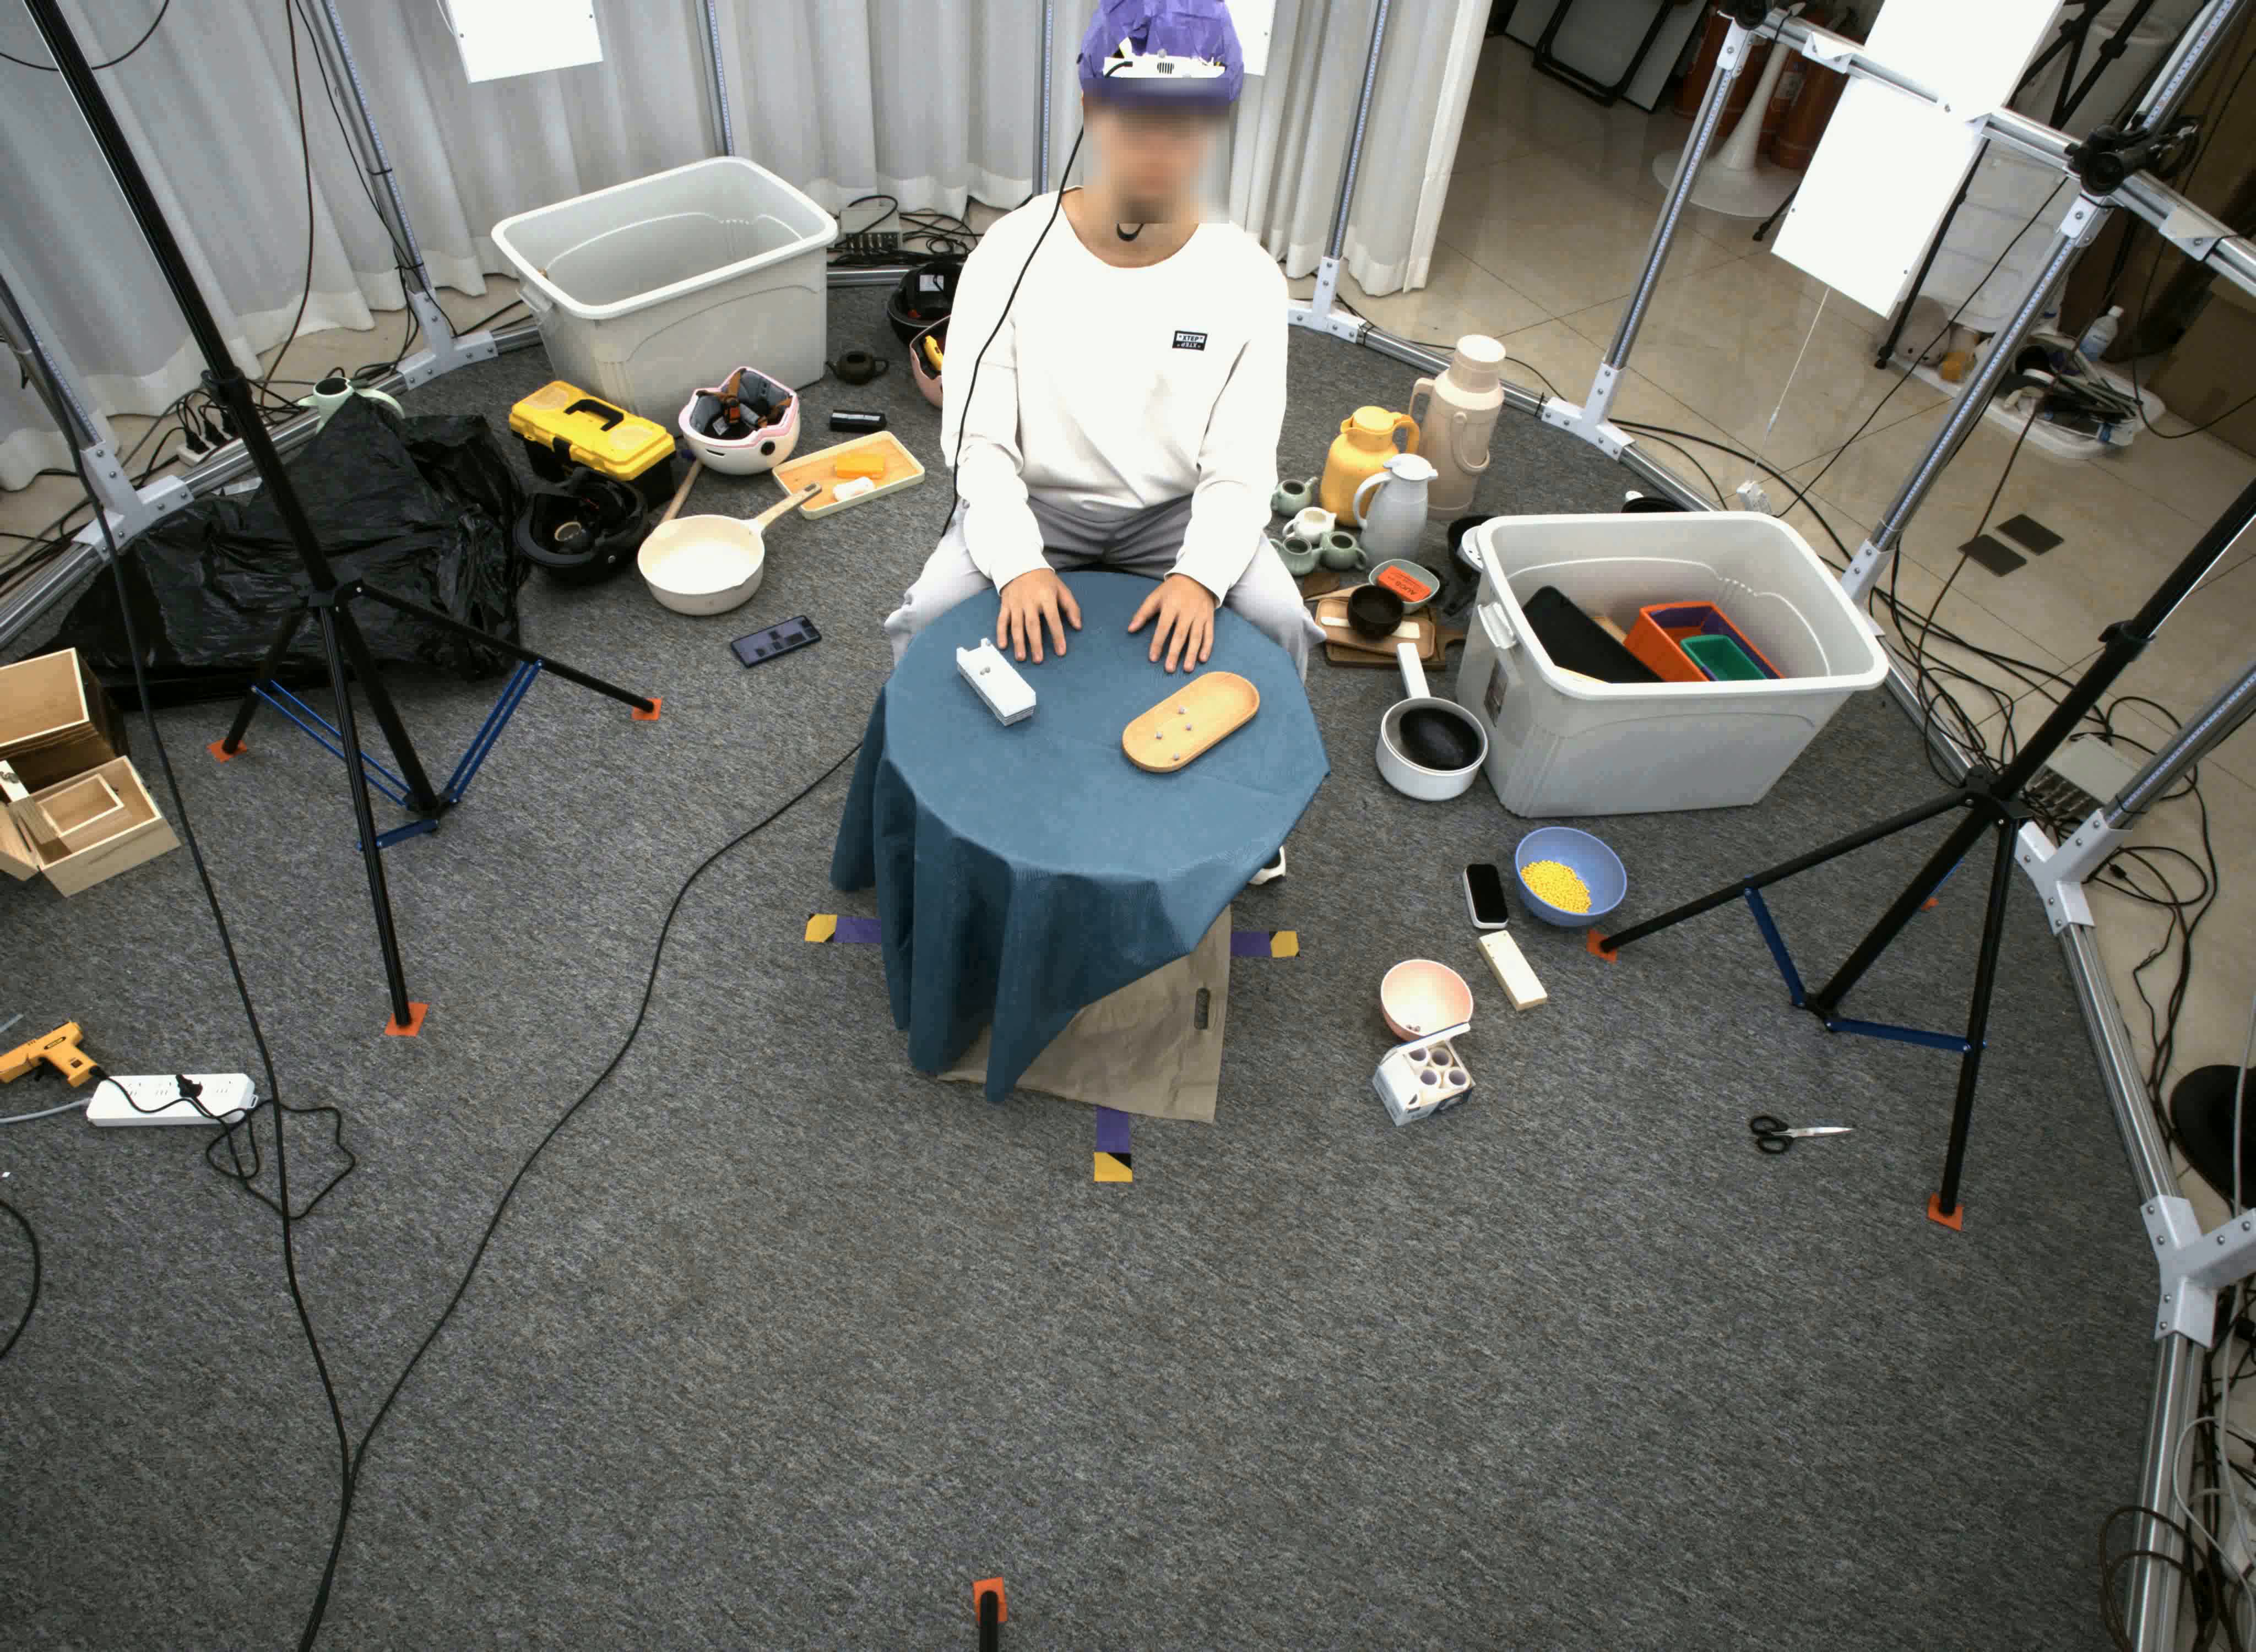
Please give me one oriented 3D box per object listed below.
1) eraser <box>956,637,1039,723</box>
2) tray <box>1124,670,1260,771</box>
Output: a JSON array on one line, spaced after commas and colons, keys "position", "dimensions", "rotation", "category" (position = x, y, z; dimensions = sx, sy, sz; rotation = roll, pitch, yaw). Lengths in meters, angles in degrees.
[{"position": [-0.183, -0.204, 1.797], "dimensions": [0.050, 0.045, 0.137], "rotation": [-25, 54, -30], "category": "eraser"}, {"position": [0.090, -0.149, 1.789], "dimensions": [0.103, 0.020, 0.233], "rotation": [39, 55, 25], "category": "tray"}]
